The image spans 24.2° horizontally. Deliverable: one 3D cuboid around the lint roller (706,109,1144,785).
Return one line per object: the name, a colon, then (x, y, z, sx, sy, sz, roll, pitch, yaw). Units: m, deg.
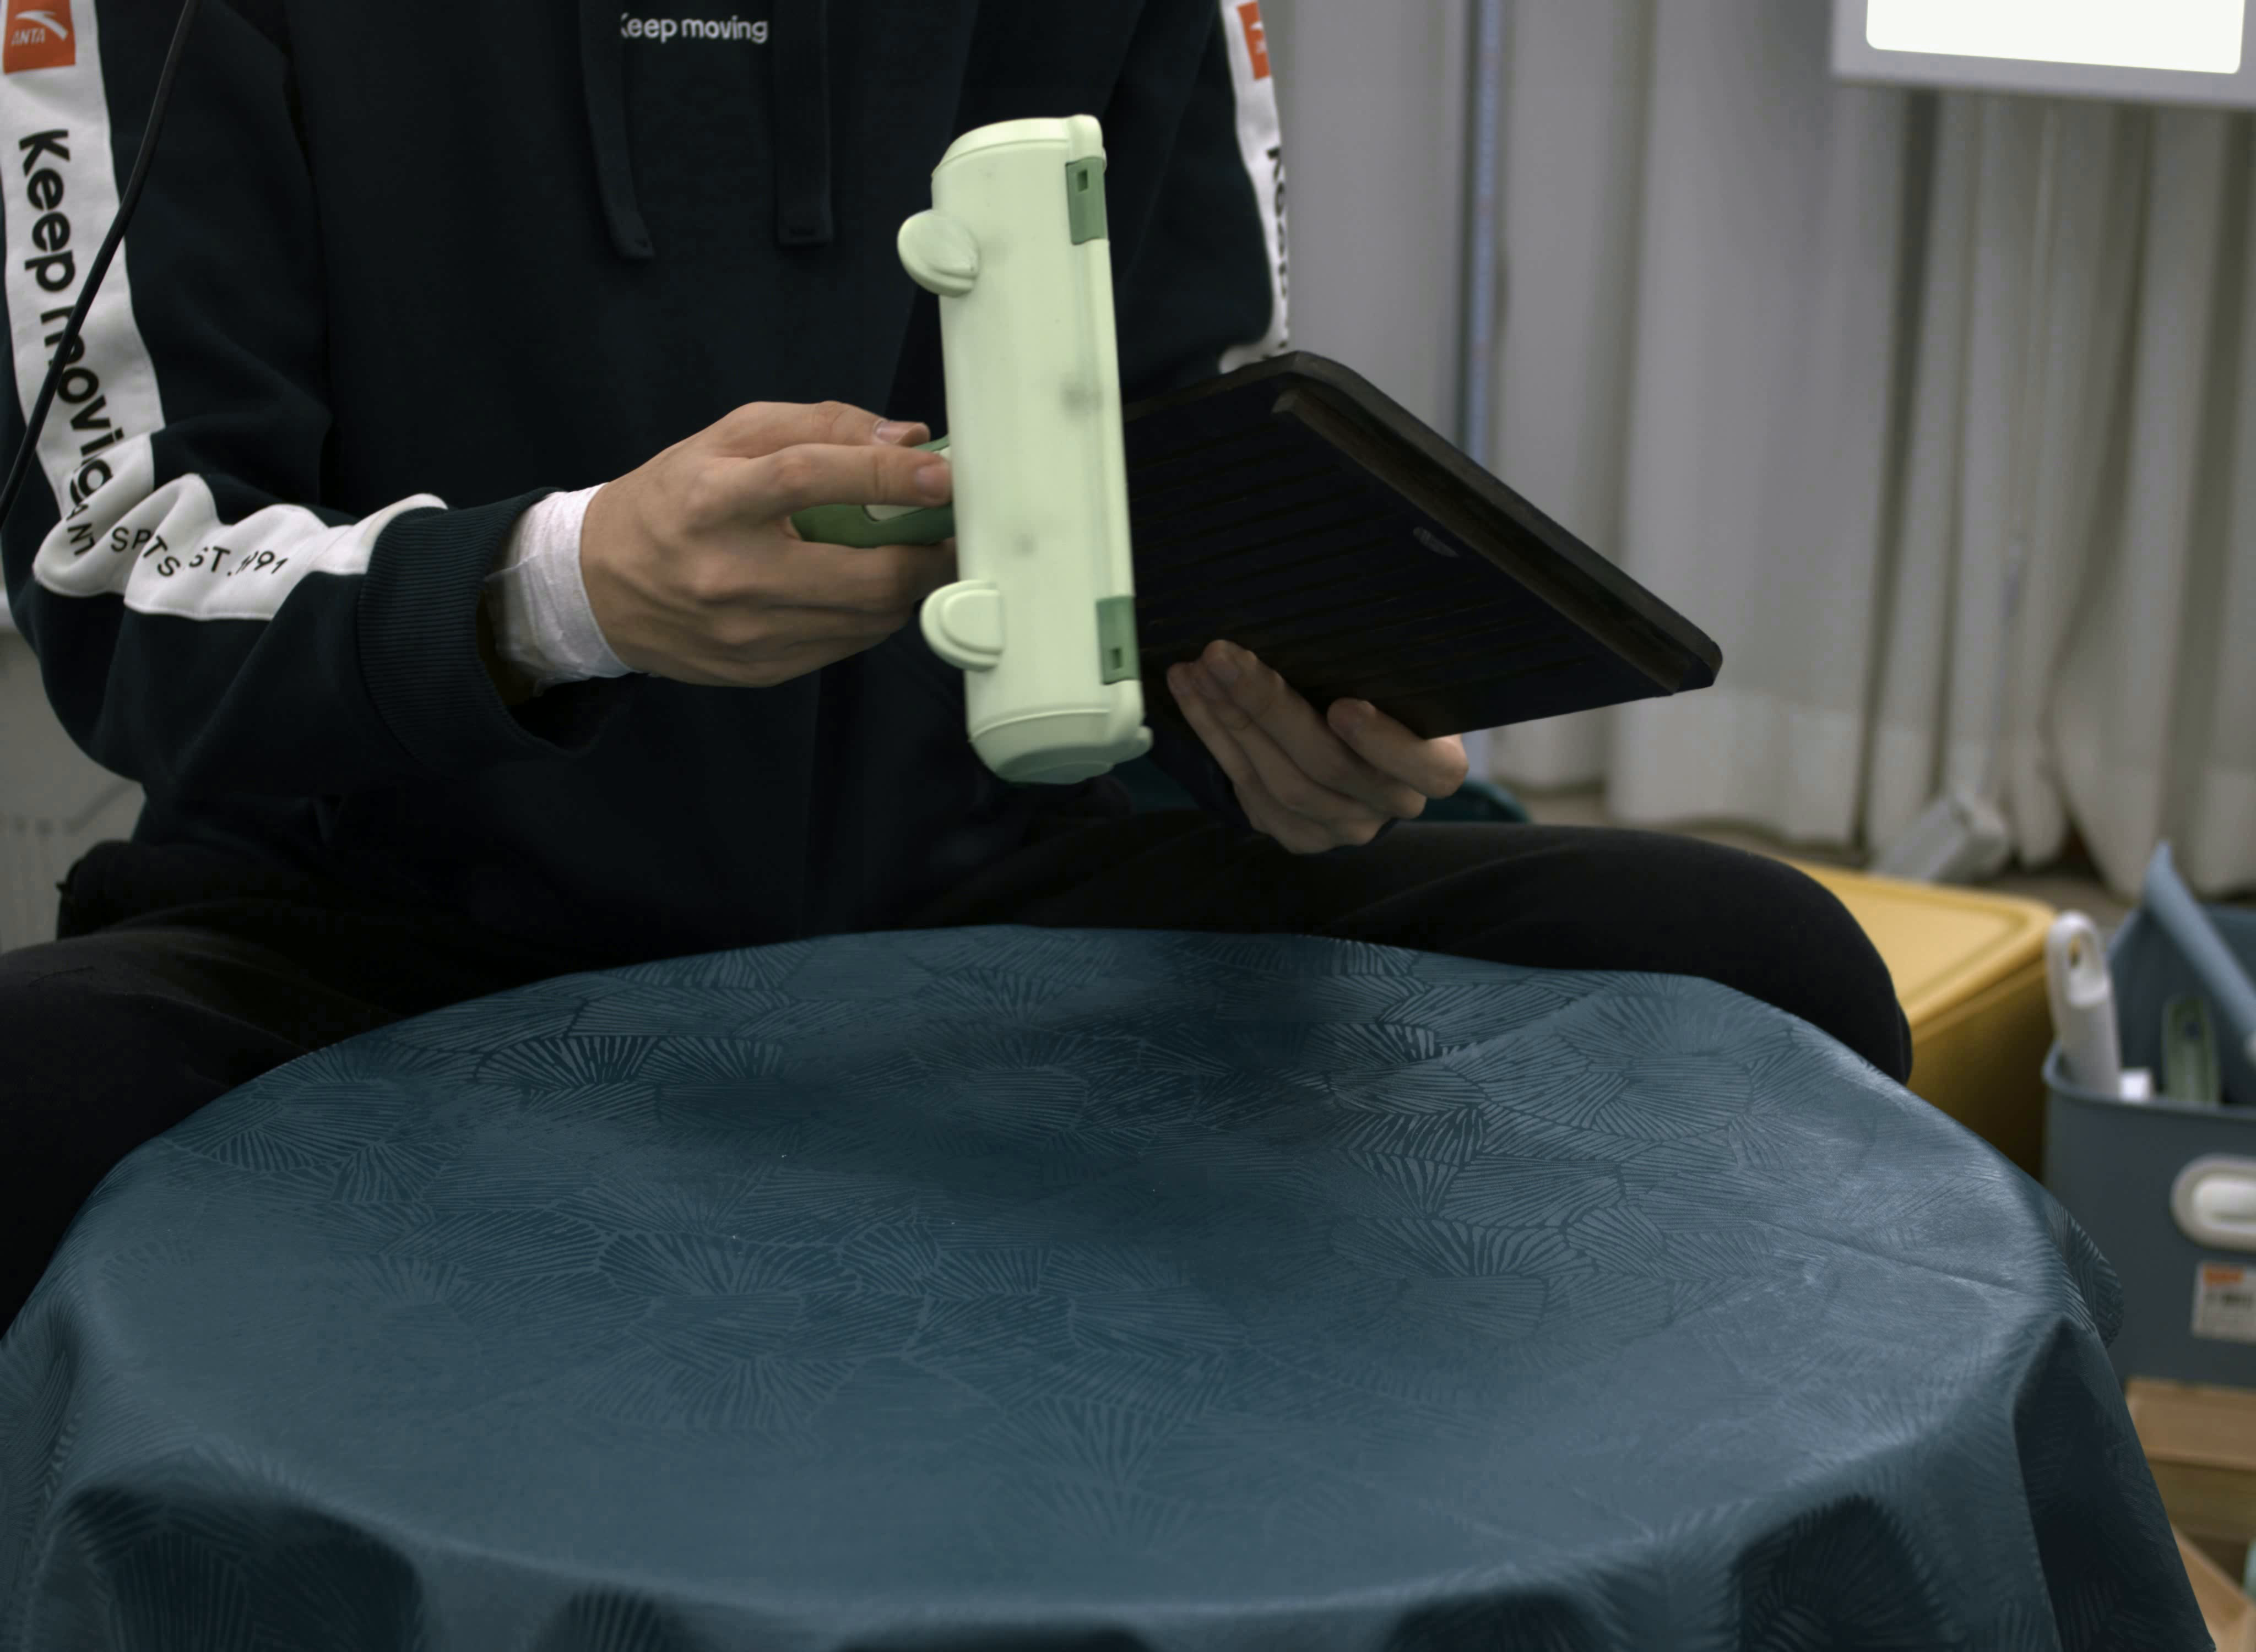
lint roller: (-0.076, -0.103, 1.589, 0.182, 0.198, 0.083, -13, -15, 34)

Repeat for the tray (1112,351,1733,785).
tray: (0.048, -0.074, 1.669, 0.171, 0.018, 0.304, 35, -20, -21)
